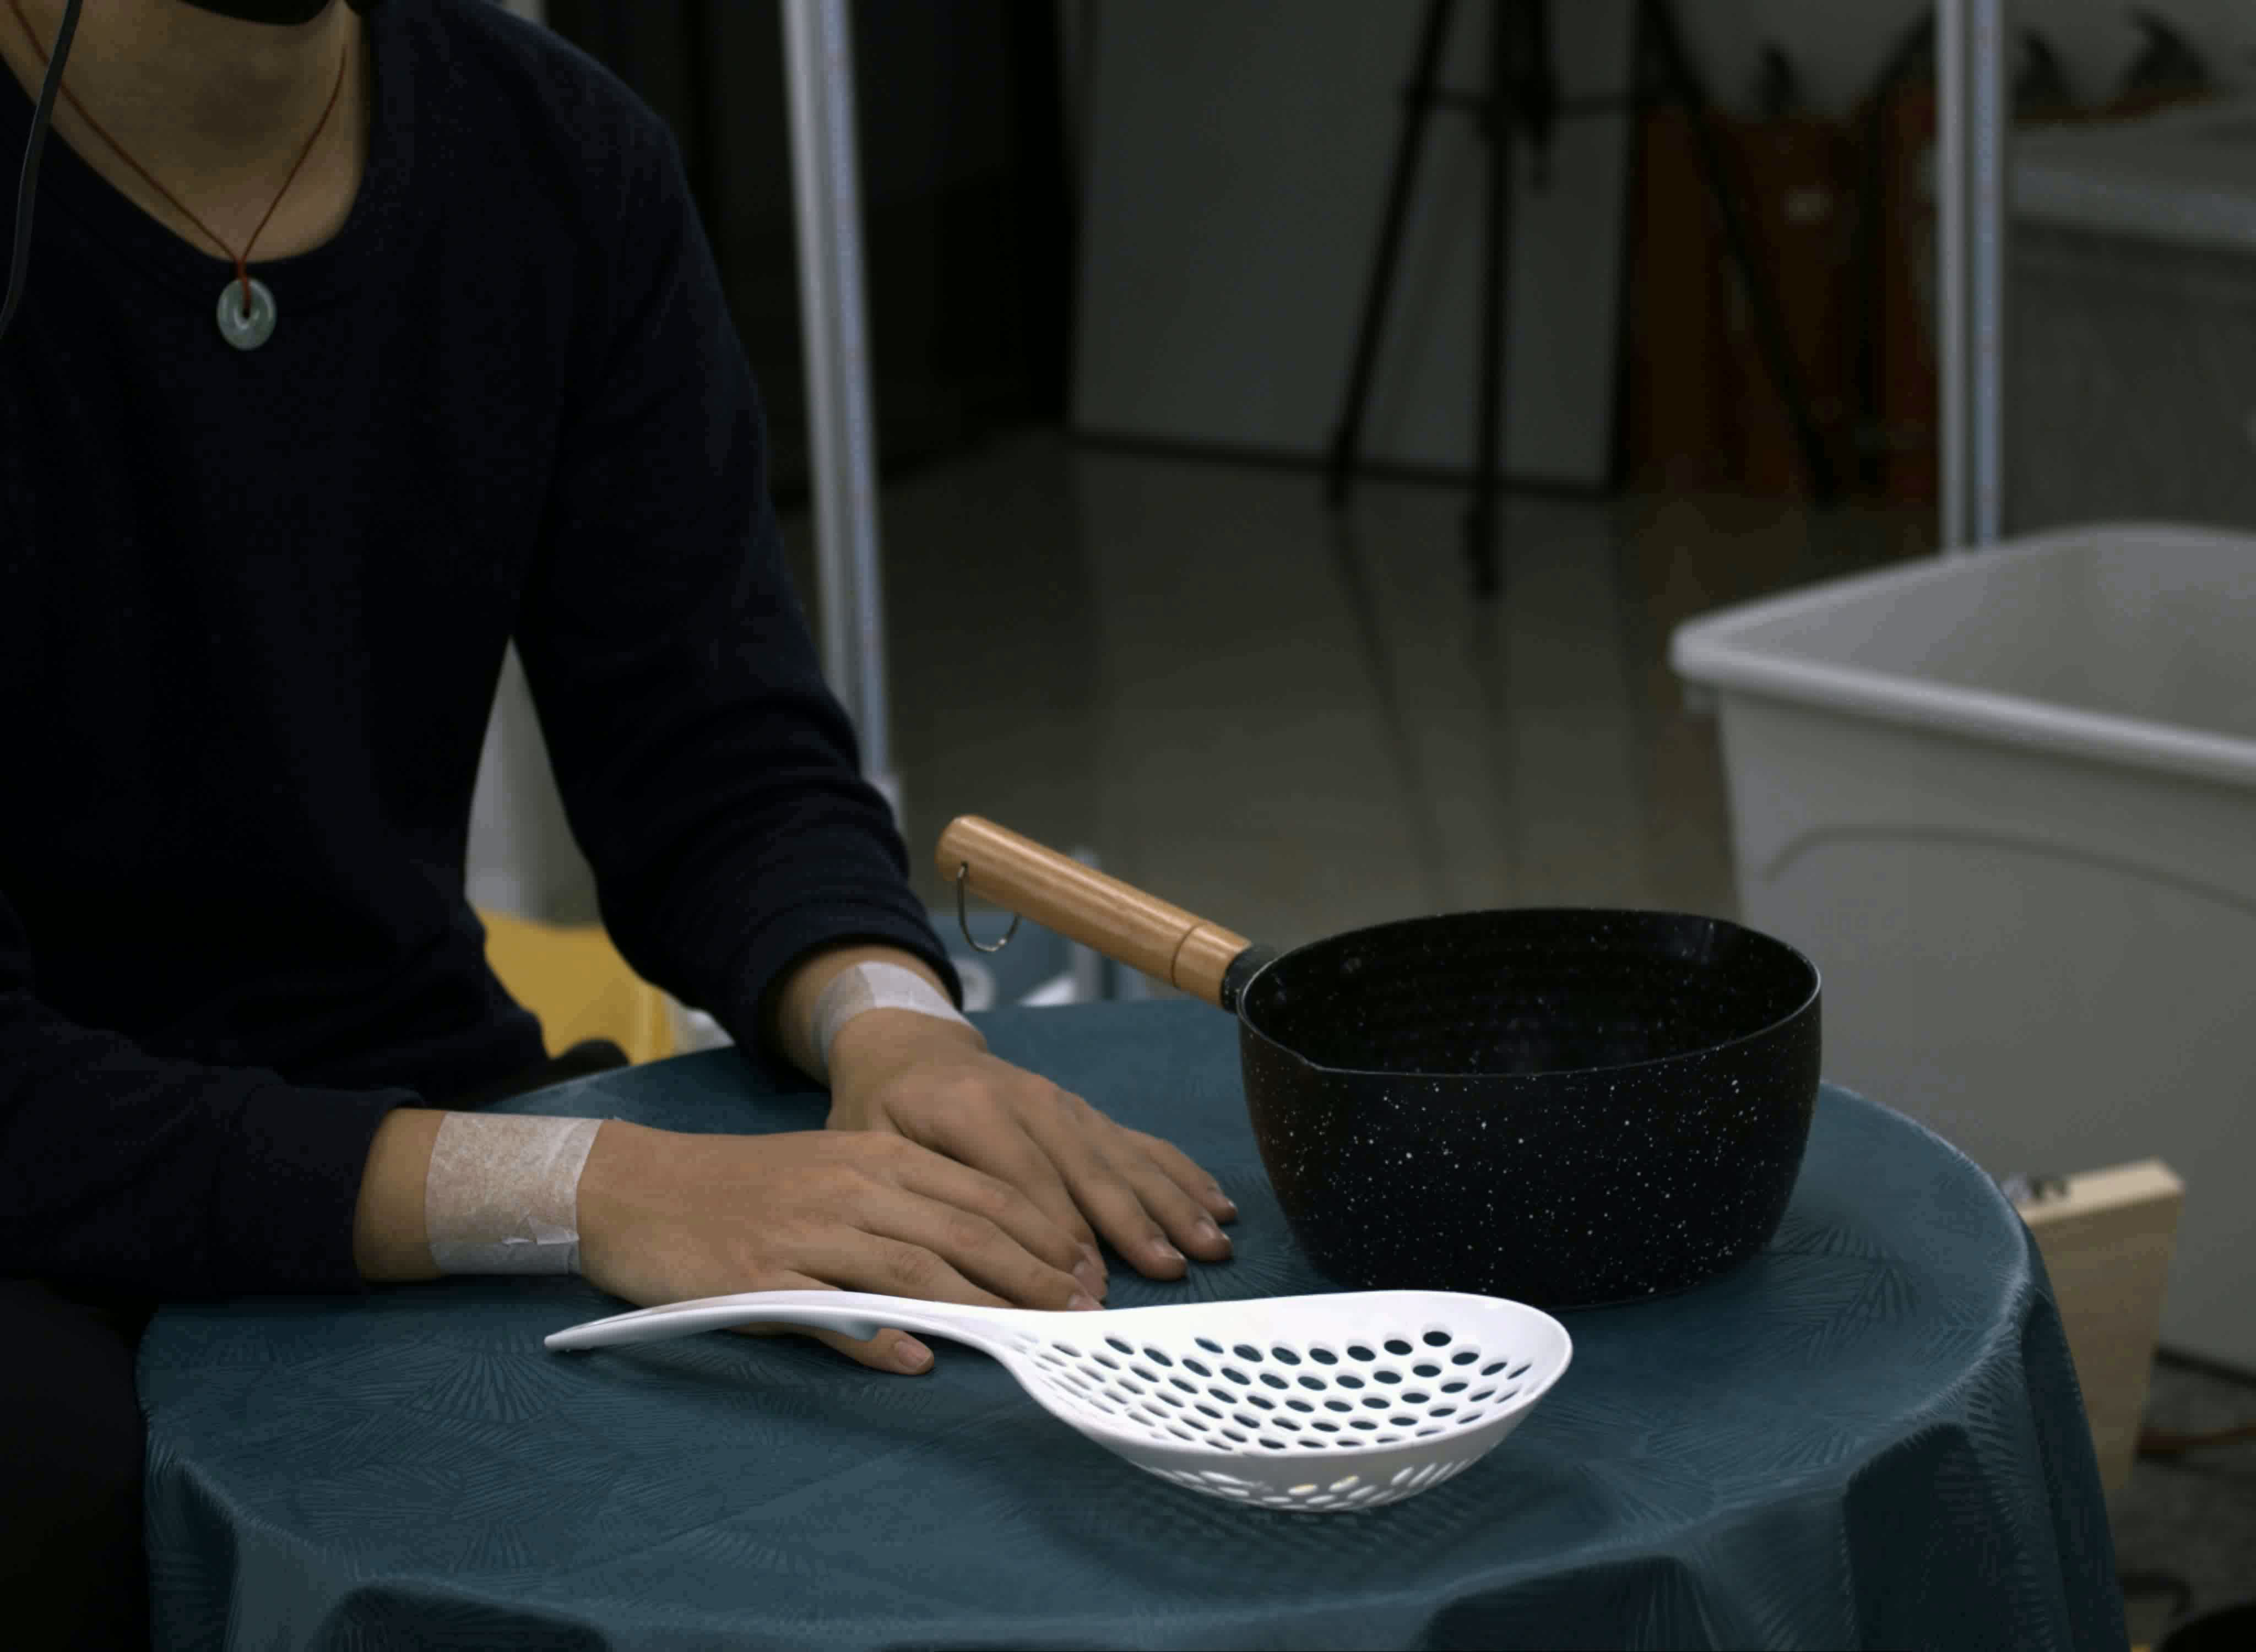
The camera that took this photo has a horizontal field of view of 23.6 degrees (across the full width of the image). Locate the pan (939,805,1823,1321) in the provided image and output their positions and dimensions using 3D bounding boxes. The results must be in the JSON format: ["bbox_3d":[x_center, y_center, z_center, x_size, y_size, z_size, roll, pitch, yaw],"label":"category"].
[{"bbox_3d":[0.067,0.069,1.736,0.345,0.109,0.203,10,20,41],"label":"pan"}]

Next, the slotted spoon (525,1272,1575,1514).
[{"bbox_3d":[-0.033,0.155,1.552,0.350,0.051,0.134,7,19,34],"label":"slotted spoon"}]
